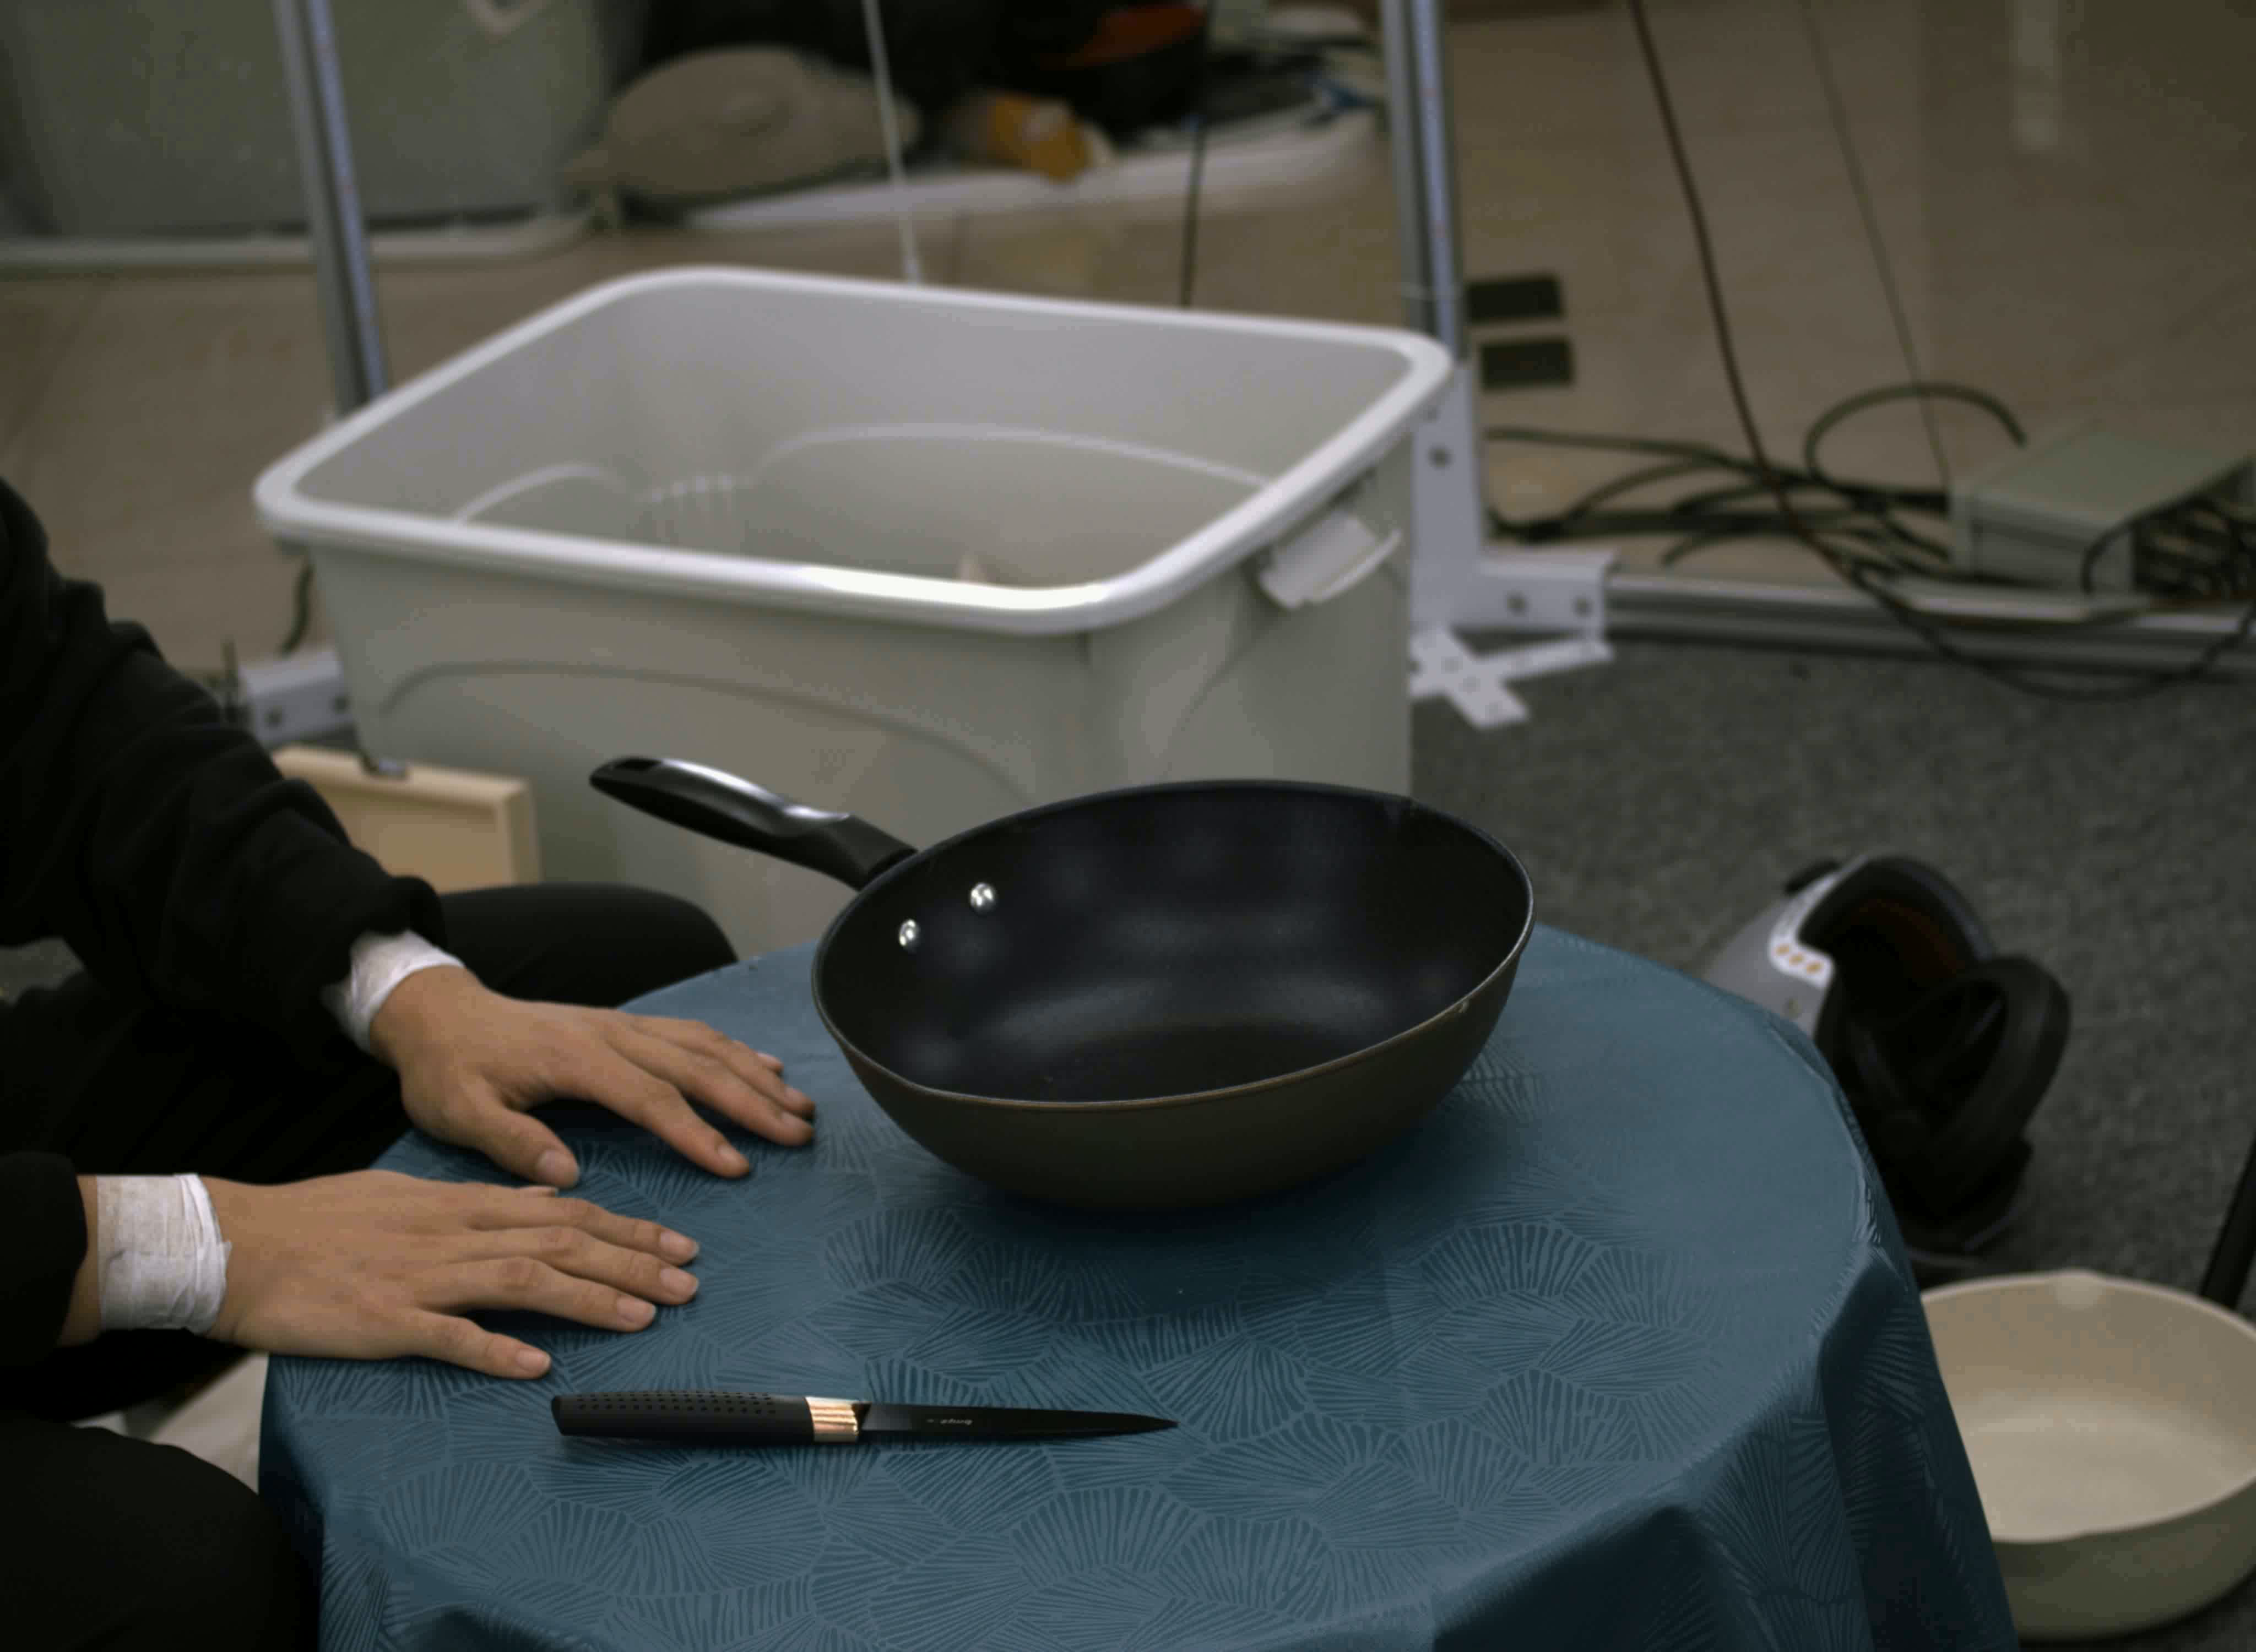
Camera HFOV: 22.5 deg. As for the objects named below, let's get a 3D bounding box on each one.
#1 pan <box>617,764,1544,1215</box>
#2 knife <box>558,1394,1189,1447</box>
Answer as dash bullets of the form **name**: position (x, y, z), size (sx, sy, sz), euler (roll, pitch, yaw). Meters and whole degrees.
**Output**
- **pan**: position (-0.043, 0.058, 2.238), size (0.460, 0.088, 0.285), euler (15, 33, 41)
- **knife**: position (-0.091, 0.210, 2.011), size (0.225, 0.017, 0.026), euler (-1, 10, 9)
